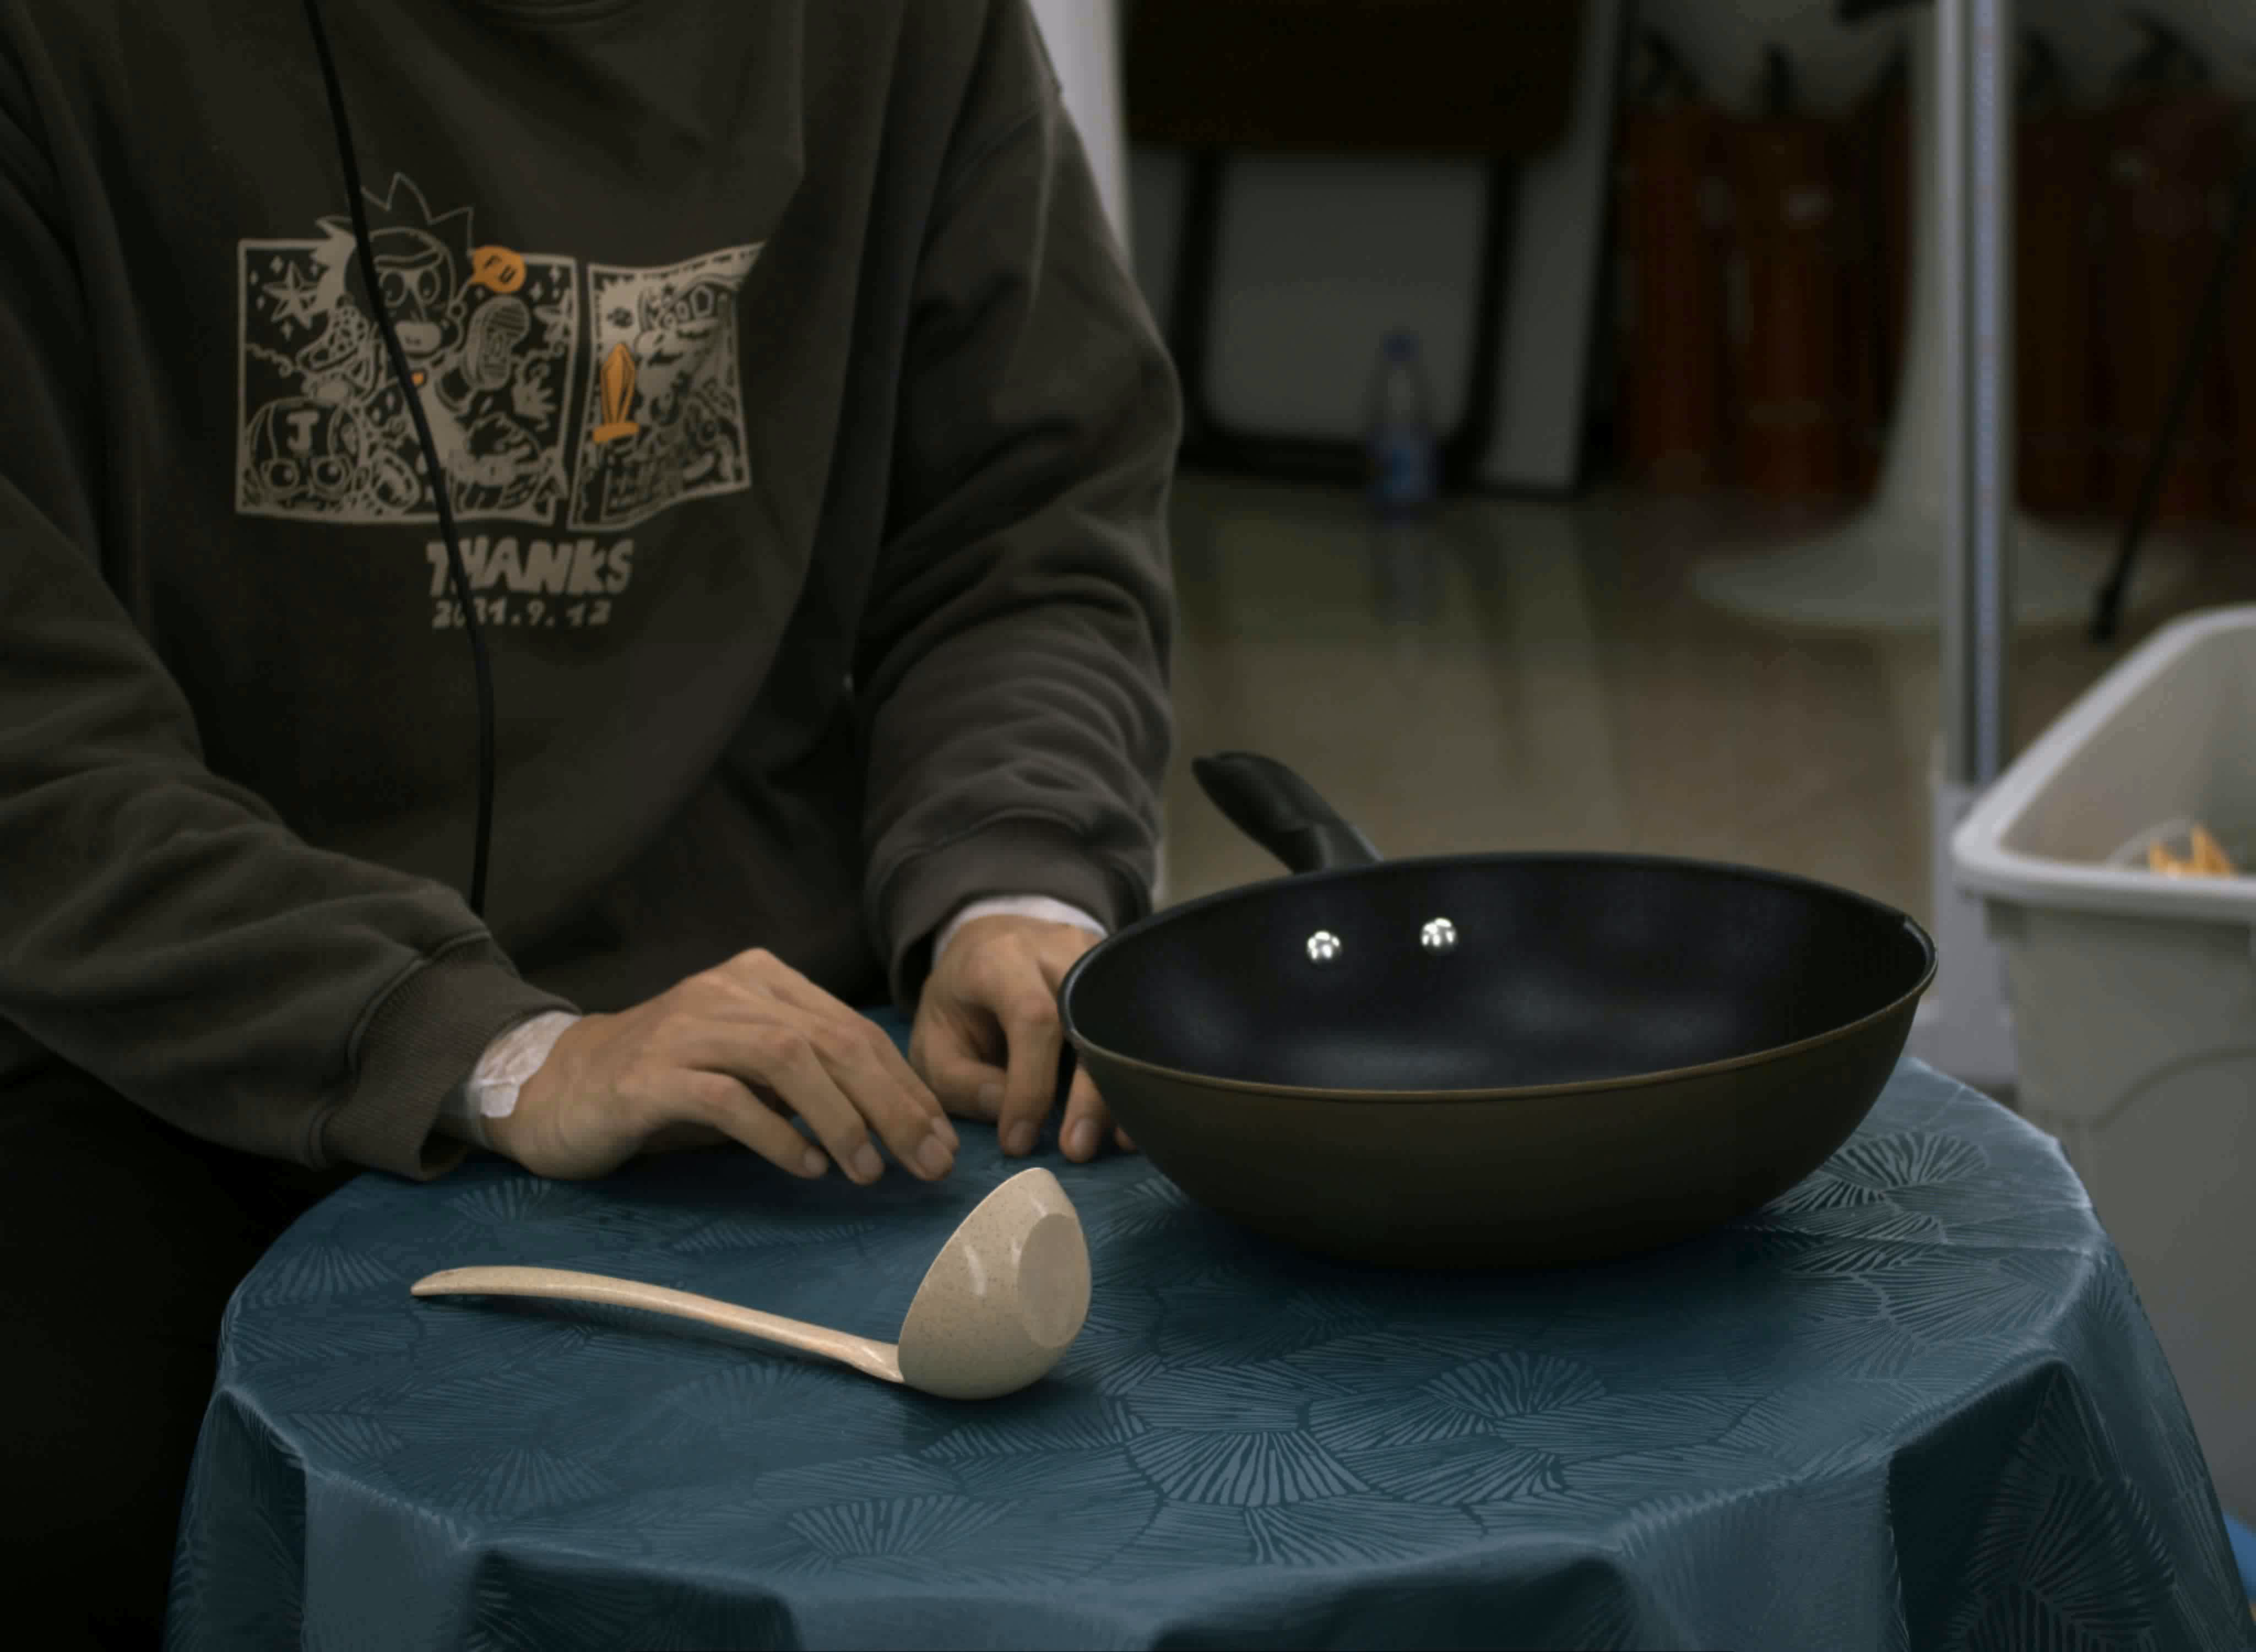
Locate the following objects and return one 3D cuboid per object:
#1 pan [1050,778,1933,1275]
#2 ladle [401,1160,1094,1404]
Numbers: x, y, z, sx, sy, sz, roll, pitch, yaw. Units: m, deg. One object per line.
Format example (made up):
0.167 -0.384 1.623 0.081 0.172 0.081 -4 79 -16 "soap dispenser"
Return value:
0.095 0.064 1.810 0.283 0.088 0.466 -7 13 -13 "pan"
-0.125 0.127 1.638 0.256 0.073 0.071 5 21 33 "ladle"
